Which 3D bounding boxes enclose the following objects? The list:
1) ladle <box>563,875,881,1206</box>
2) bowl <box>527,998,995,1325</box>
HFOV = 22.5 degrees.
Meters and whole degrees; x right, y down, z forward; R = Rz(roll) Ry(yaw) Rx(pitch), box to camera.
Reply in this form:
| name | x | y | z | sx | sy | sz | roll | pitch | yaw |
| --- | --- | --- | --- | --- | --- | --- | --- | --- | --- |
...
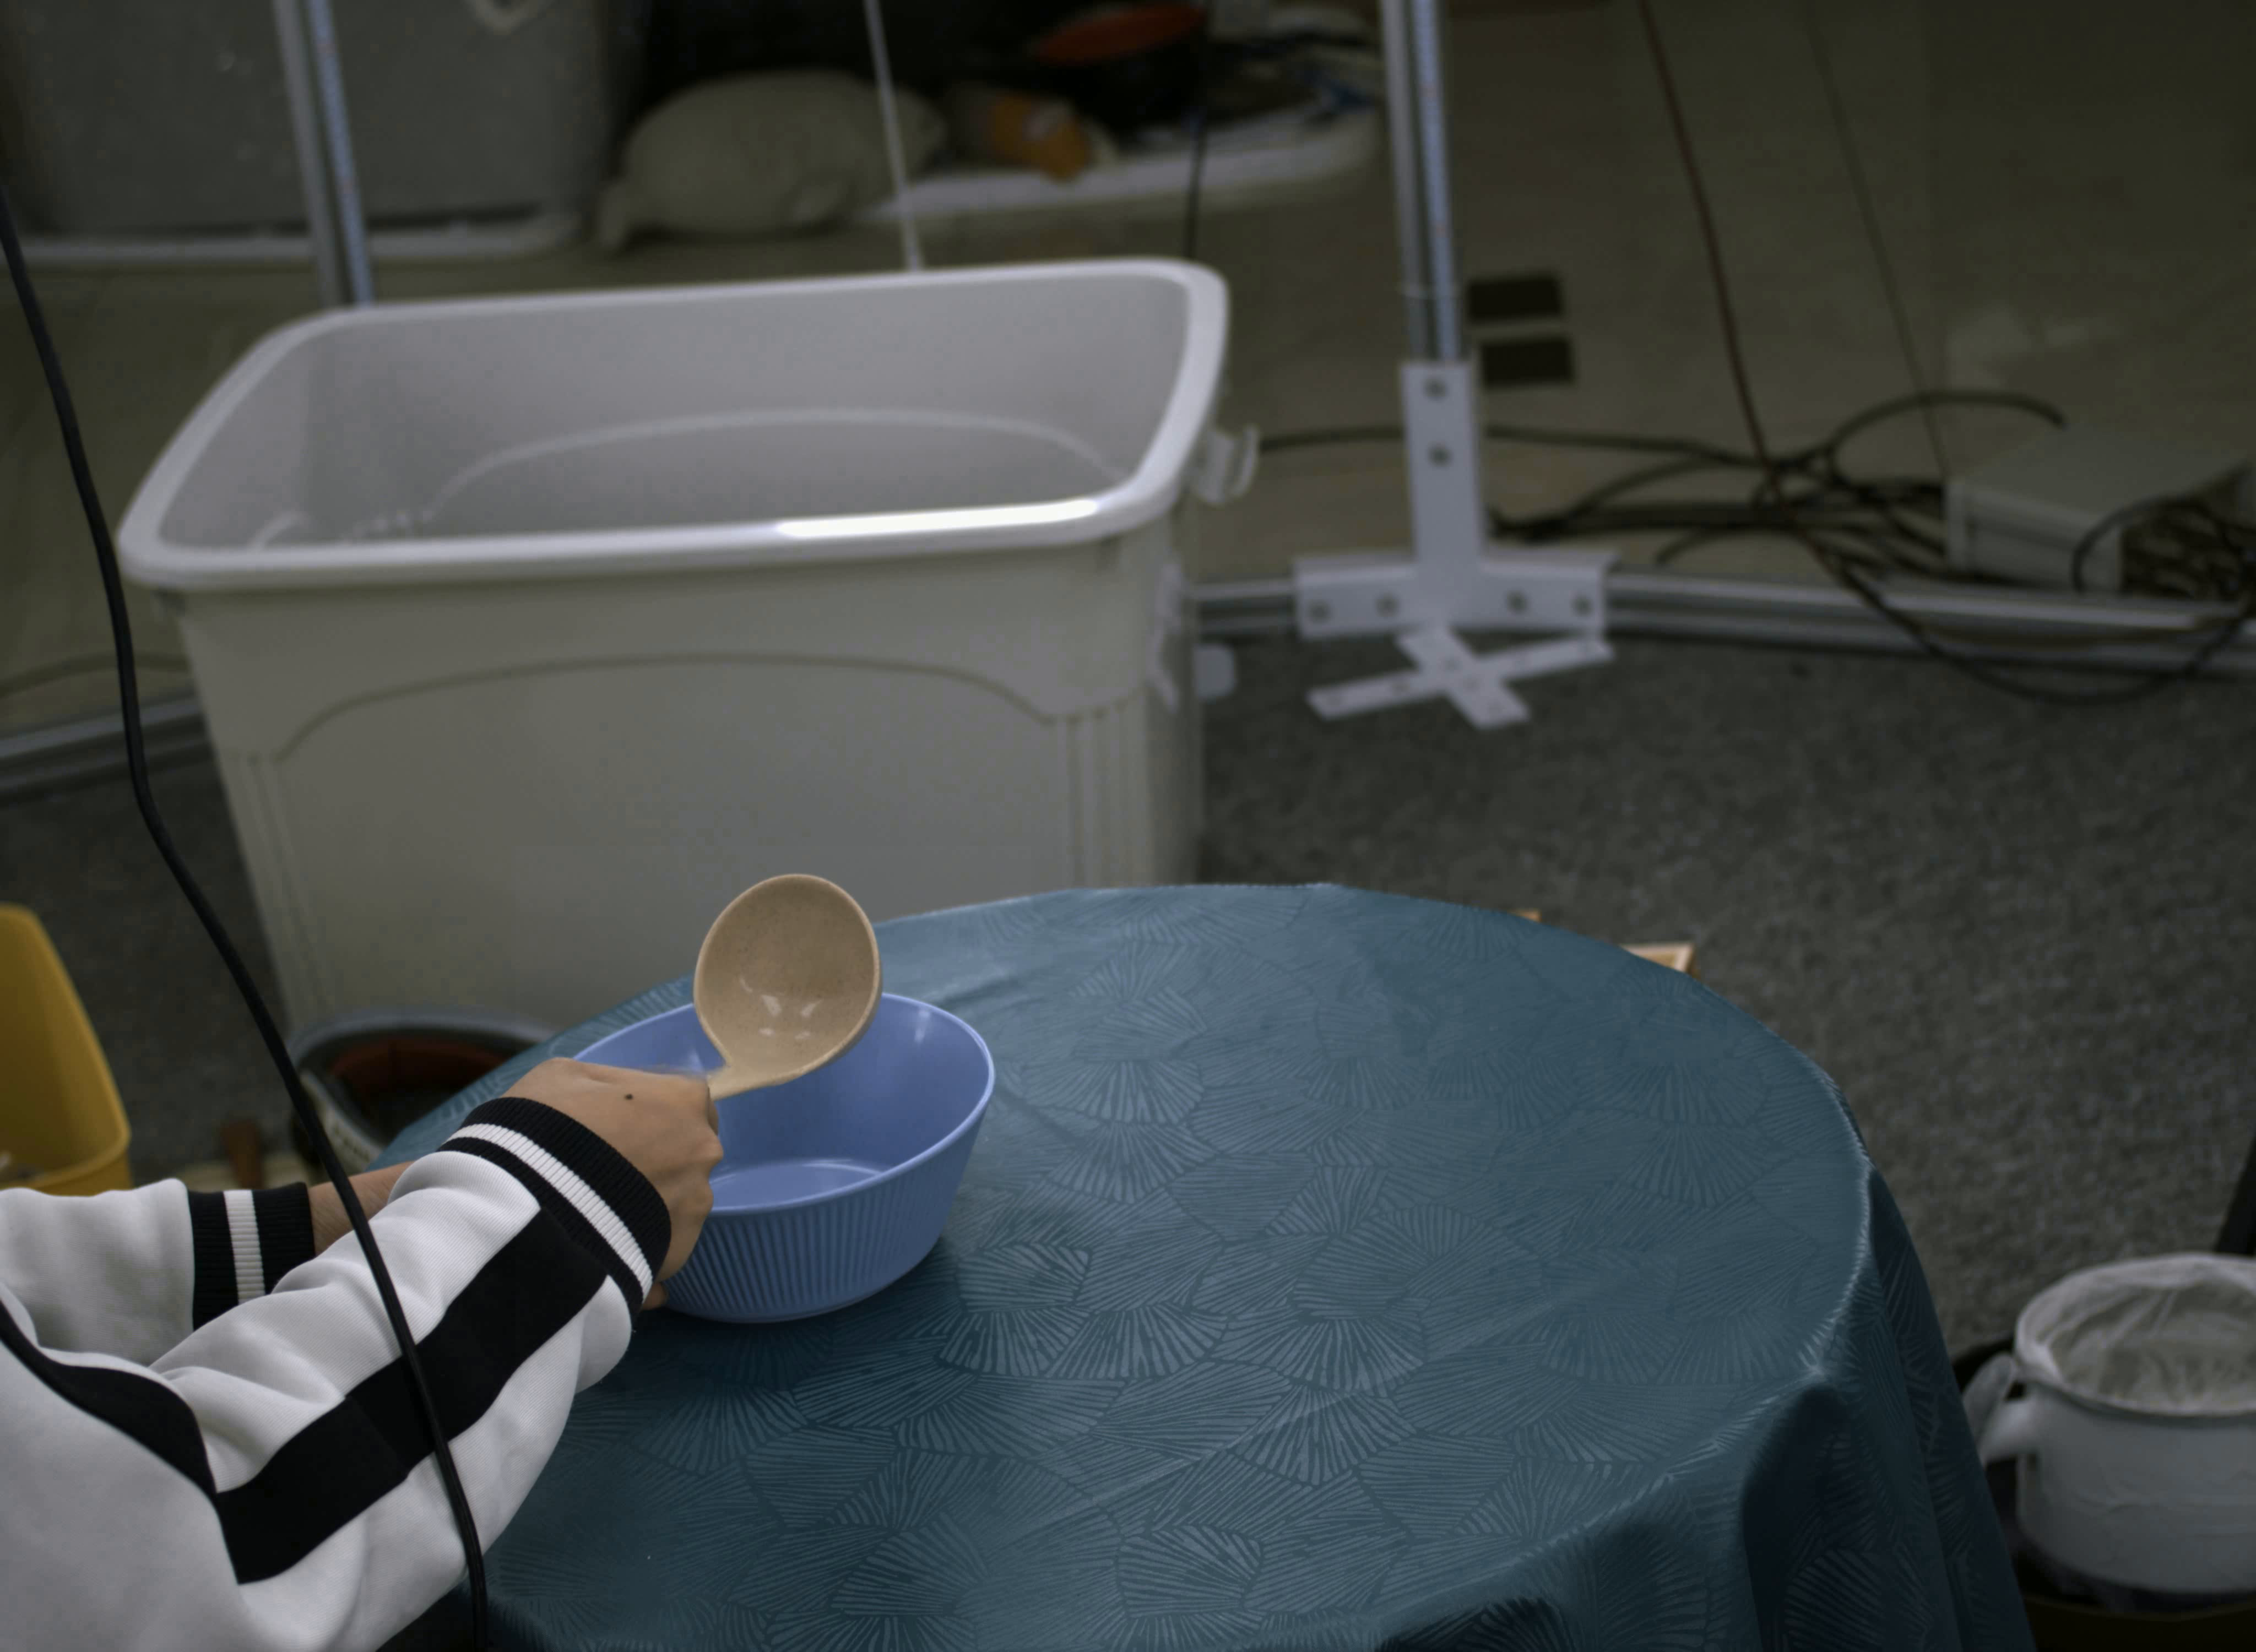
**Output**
| name | x | y | z | sx | sy | sz | roll | pitch | yaw |
| --- | --- | --- | --- | --- | --- | --- | --- | --- | --- |
| ladle | -0.151 | 0.071 | 1.994 | 0.072 | 0.073 | 0.253 | 0 | 9 | 15 |
| bowl | -0.133 | 0.130 | 2.116 | 0.176 | 0.071 | 0.173 | -6 | 24 | 3 |
